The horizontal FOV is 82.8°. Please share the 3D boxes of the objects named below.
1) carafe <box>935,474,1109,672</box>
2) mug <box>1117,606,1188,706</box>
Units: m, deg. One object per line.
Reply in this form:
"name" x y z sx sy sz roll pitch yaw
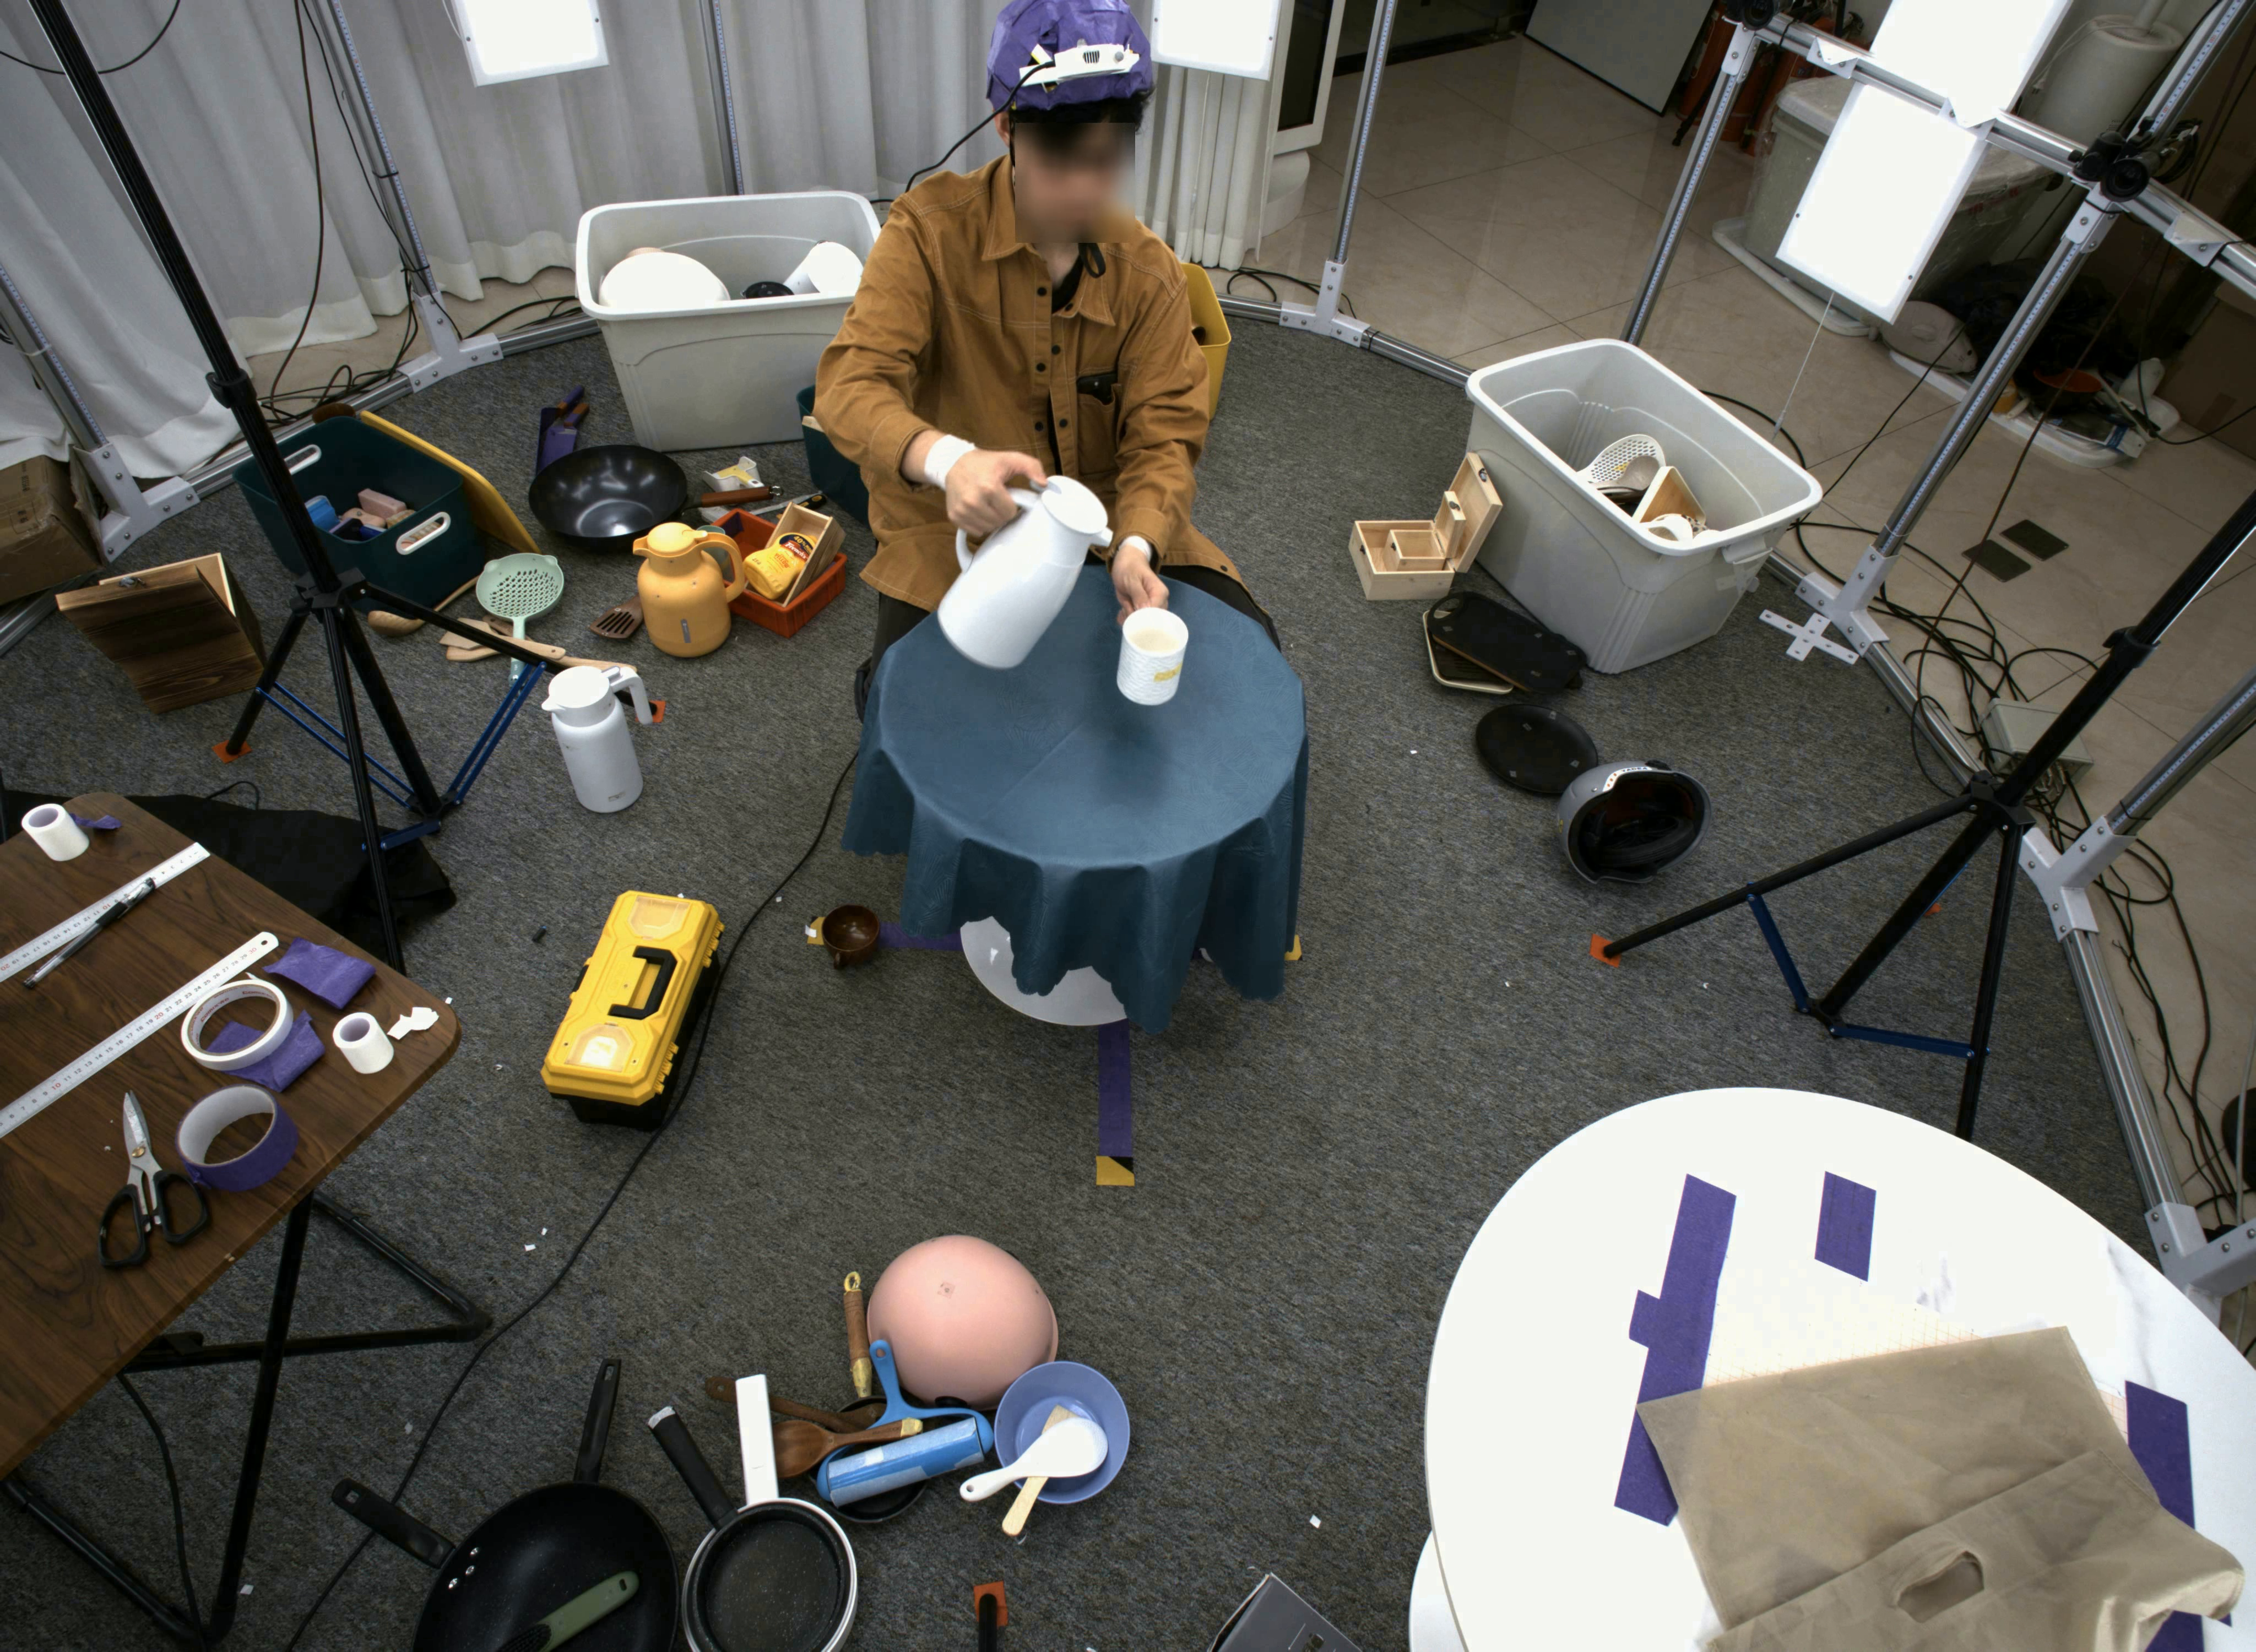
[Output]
"carafe" -0.145 -0.327 1.603 0.166 0.245 0.136 25 44 -19
"mug" 0.026 -0.234 1.715 0.085 0.099 0.121 -9 52 -15
